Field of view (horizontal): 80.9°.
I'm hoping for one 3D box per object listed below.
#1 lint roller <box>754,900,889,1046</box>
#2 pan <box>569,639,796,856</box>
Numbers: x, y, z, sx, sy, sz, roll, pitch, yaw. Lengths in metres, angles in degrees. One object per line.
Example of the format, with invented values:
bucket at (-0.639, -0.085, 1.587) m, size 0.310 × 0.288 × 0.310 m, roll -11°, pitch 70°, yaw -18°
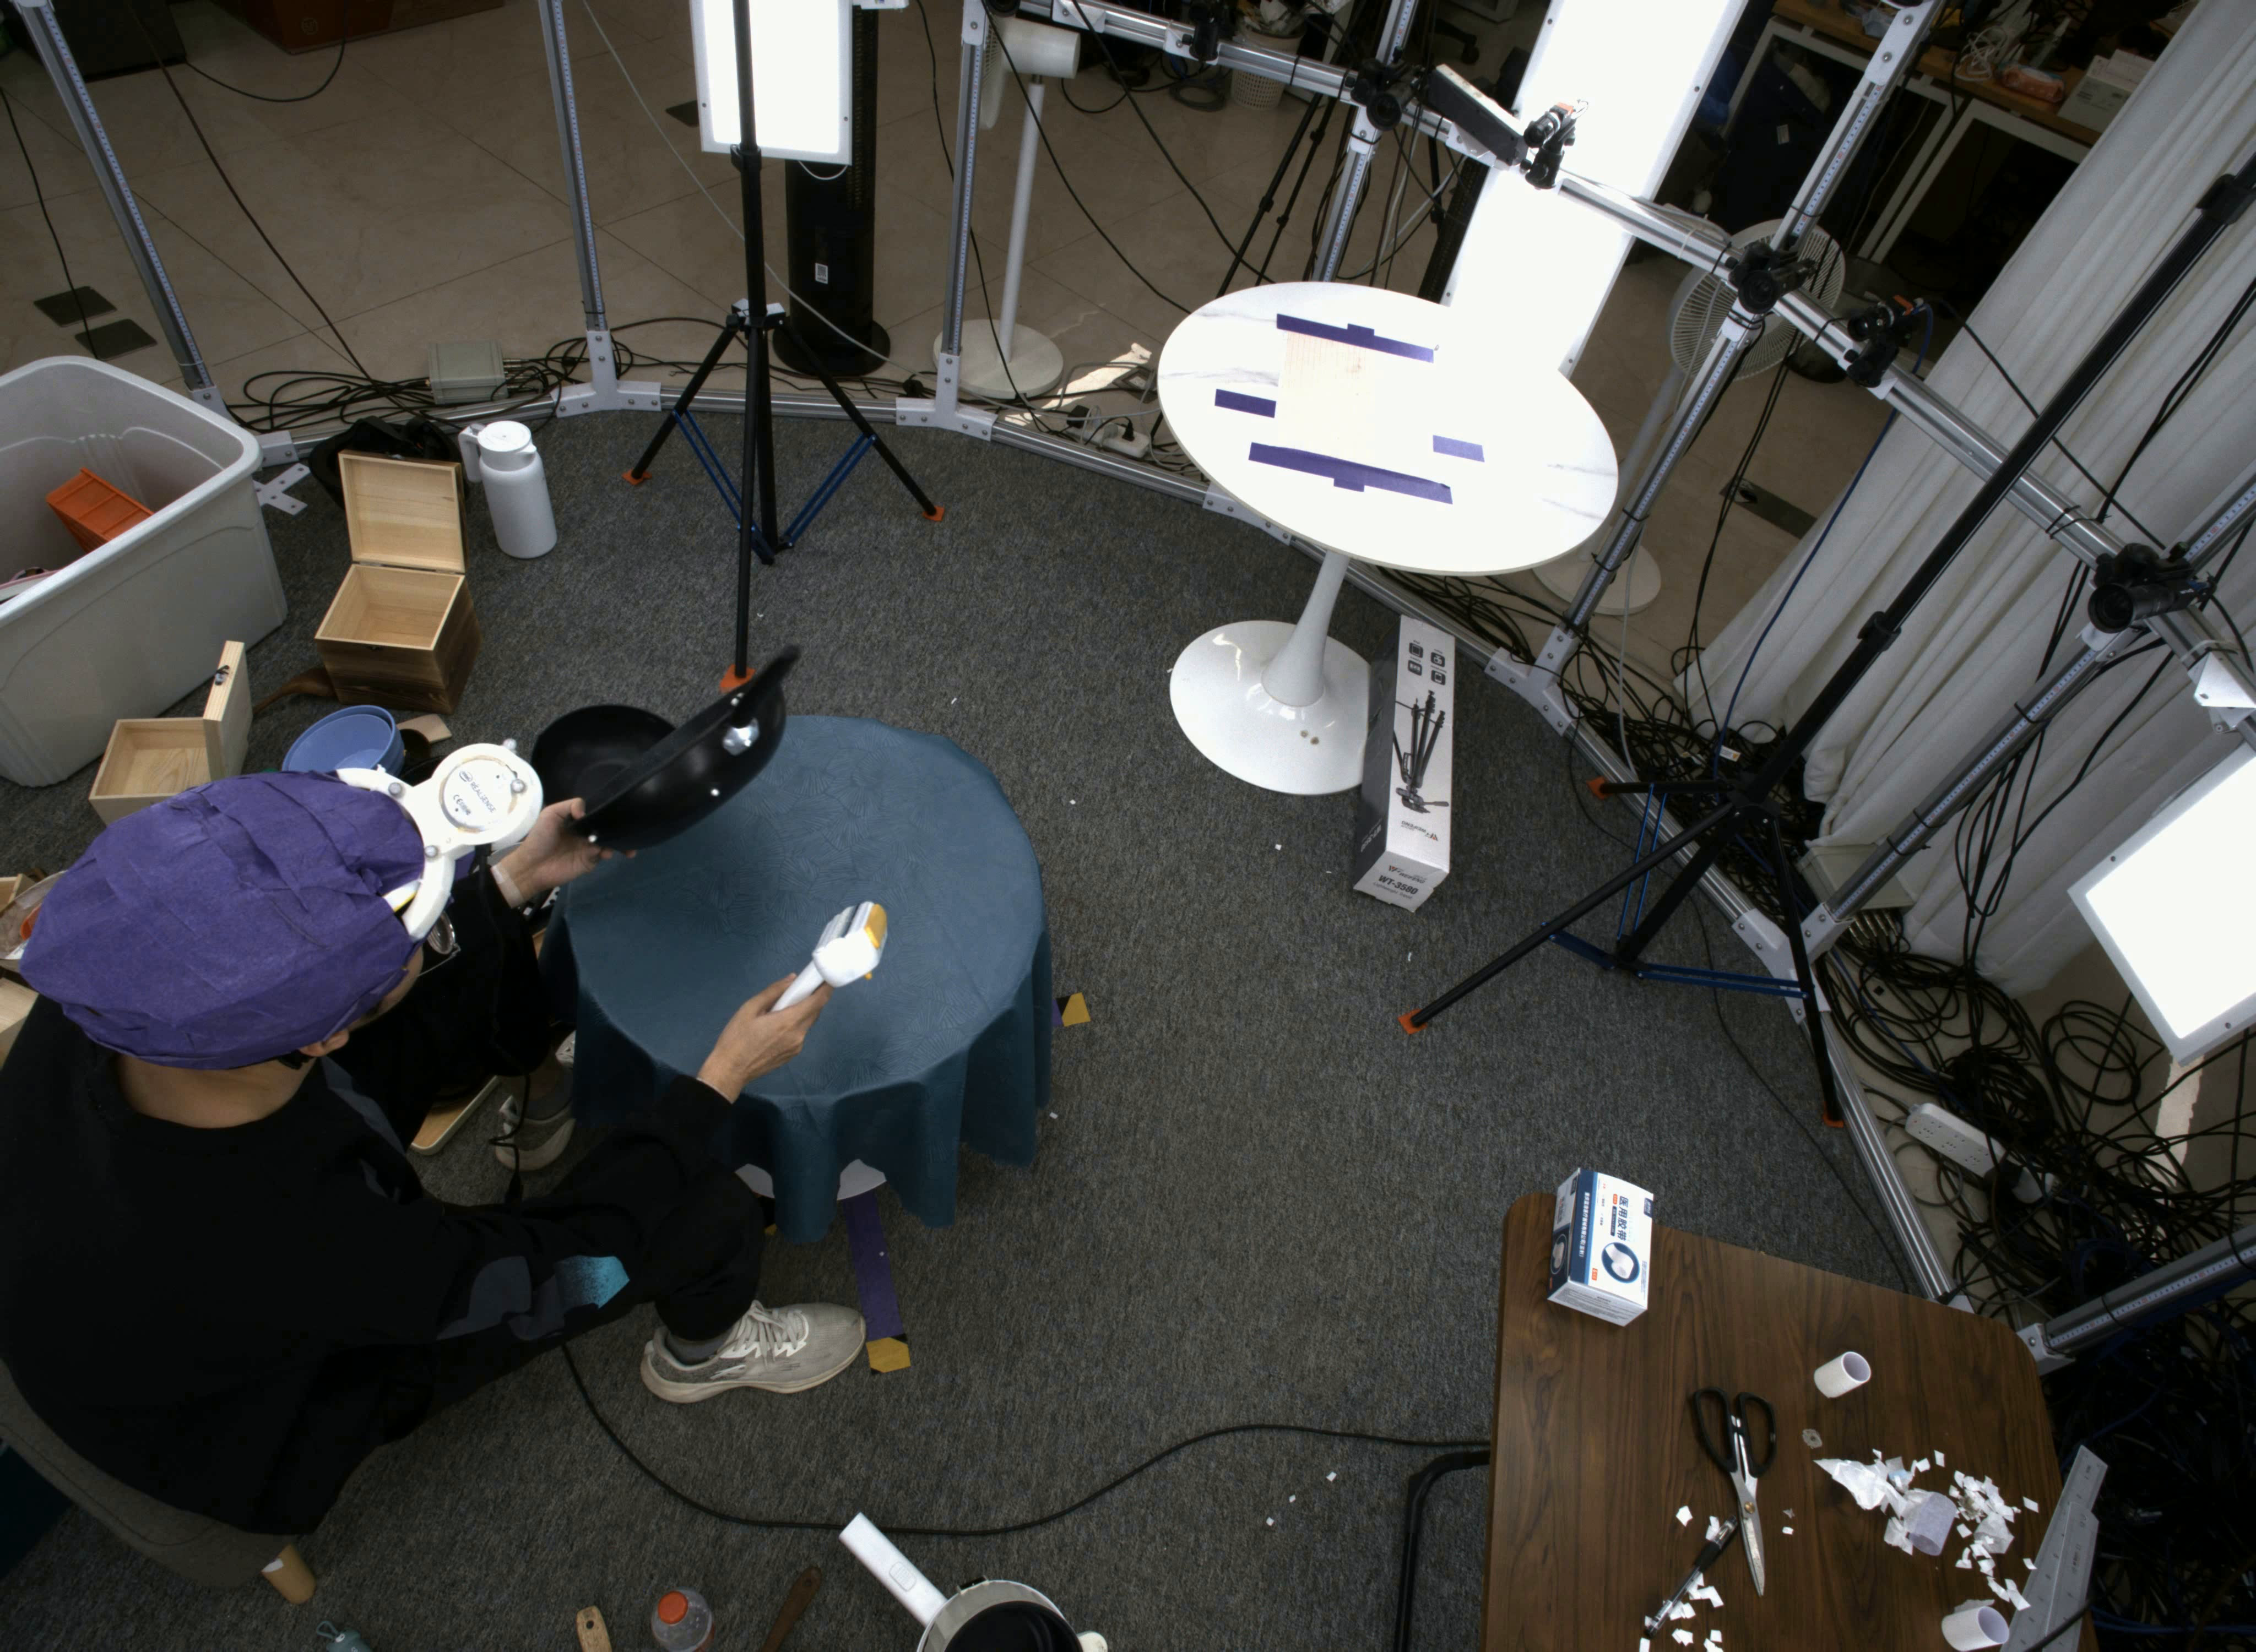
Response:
lint roller at (-0.352, 0.167, 1.450) m, size 0.191 × 0.189 × 0.076 m, roll -35°, pitch 106°, yaw 3°
pan at (-0.469, -0.089, 1.461) m, size 0.115 × 0.466 × 0.309 m, roll 54°, pitch 47°, yaw -19°
